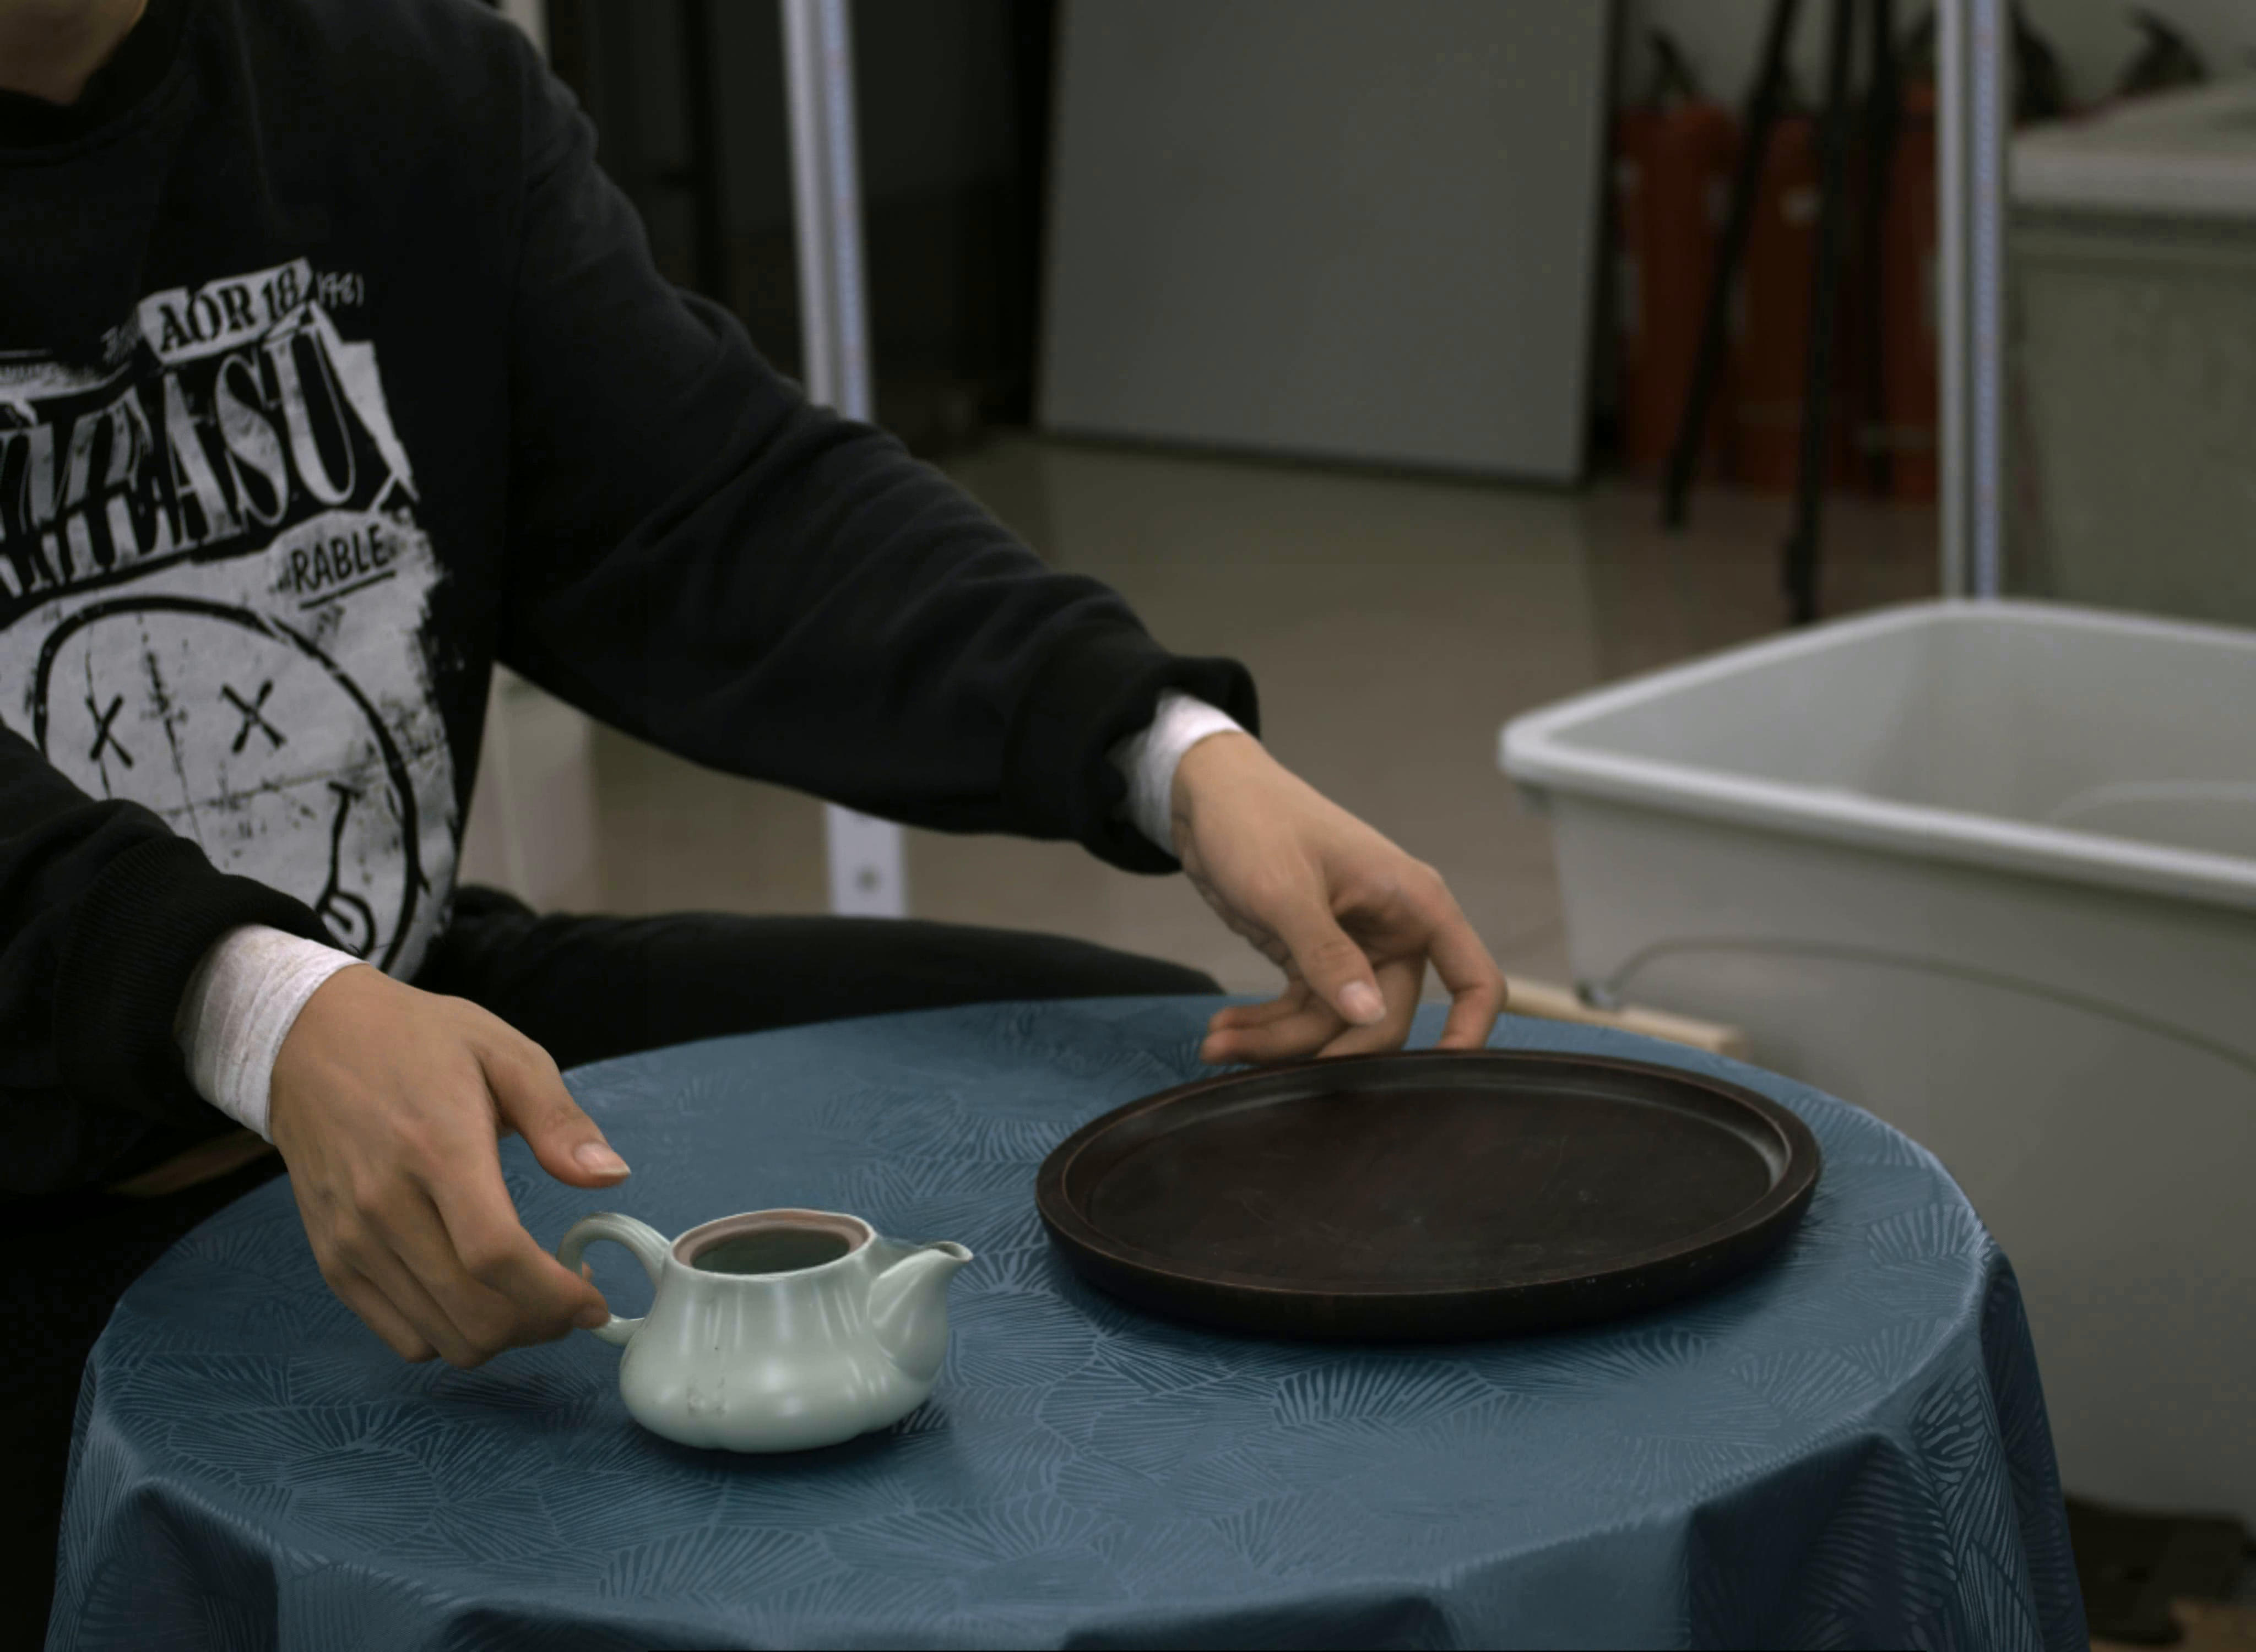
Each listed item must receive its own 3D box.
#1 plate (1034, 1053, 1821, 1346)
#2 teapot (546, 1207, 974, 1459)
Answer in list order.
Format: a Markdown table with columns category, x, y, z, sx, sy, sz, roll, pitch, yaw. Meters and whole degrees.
| category | x | y | z | sx | sy | sz | roll | pitch | yaw |
| --- | --- | --- | --- | --- | --- | --- | --- | --- | --- |
| plate | 0.095 | 0.116 | 1.716 | 0.251 | 0.029 | 0.255 | -4 | 15 | 0 |
| teapot | -0.107 | 0.147 | 1.578 | 0.137 | 0.062 | 0.095 | 2 | 16 | 22 |
